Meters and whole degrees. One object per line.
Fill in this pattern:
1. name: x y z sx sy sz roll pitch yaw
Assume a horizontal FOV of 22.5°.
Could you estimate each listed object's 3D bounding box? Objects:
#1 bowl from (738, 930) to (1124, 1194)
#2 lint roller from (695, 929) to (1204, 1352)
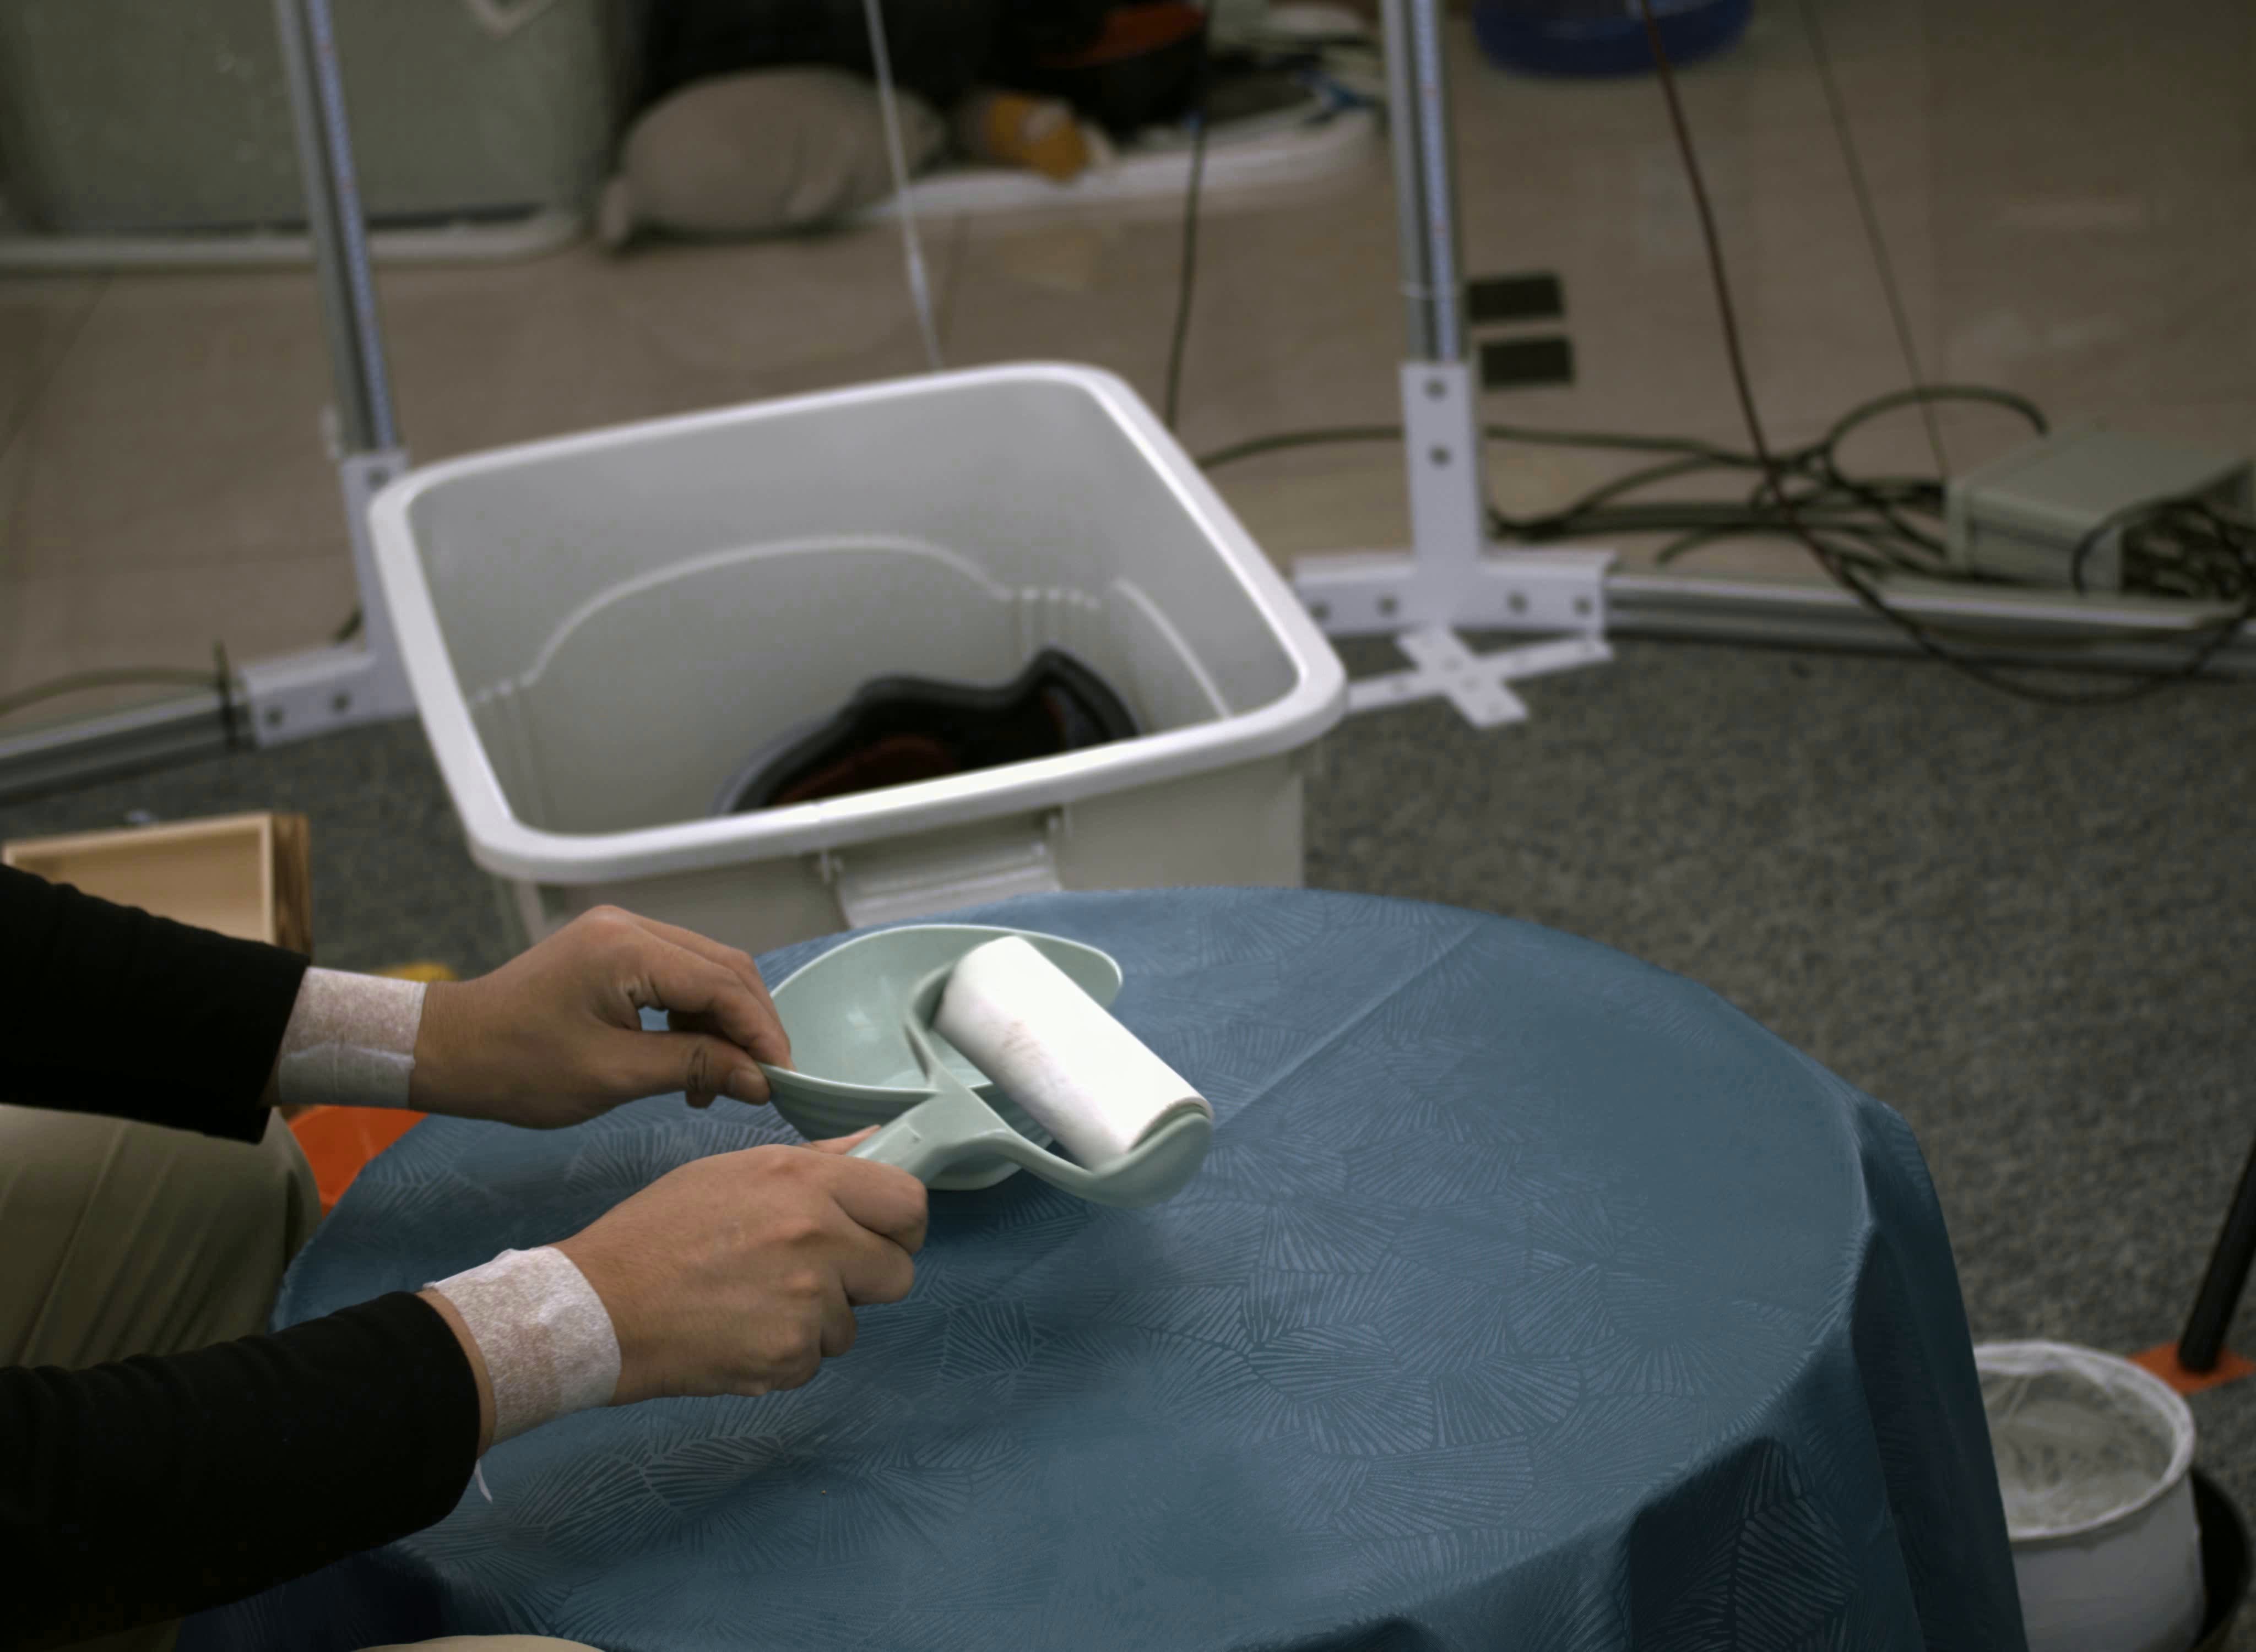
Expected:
1. bowl: -0.073 0.096 2.191 0.151 0.059 0.149 -4 24 2
2. lint roller: -0.078 0.119 2.020 0.196 0.049 0.115 -32 59 -28
